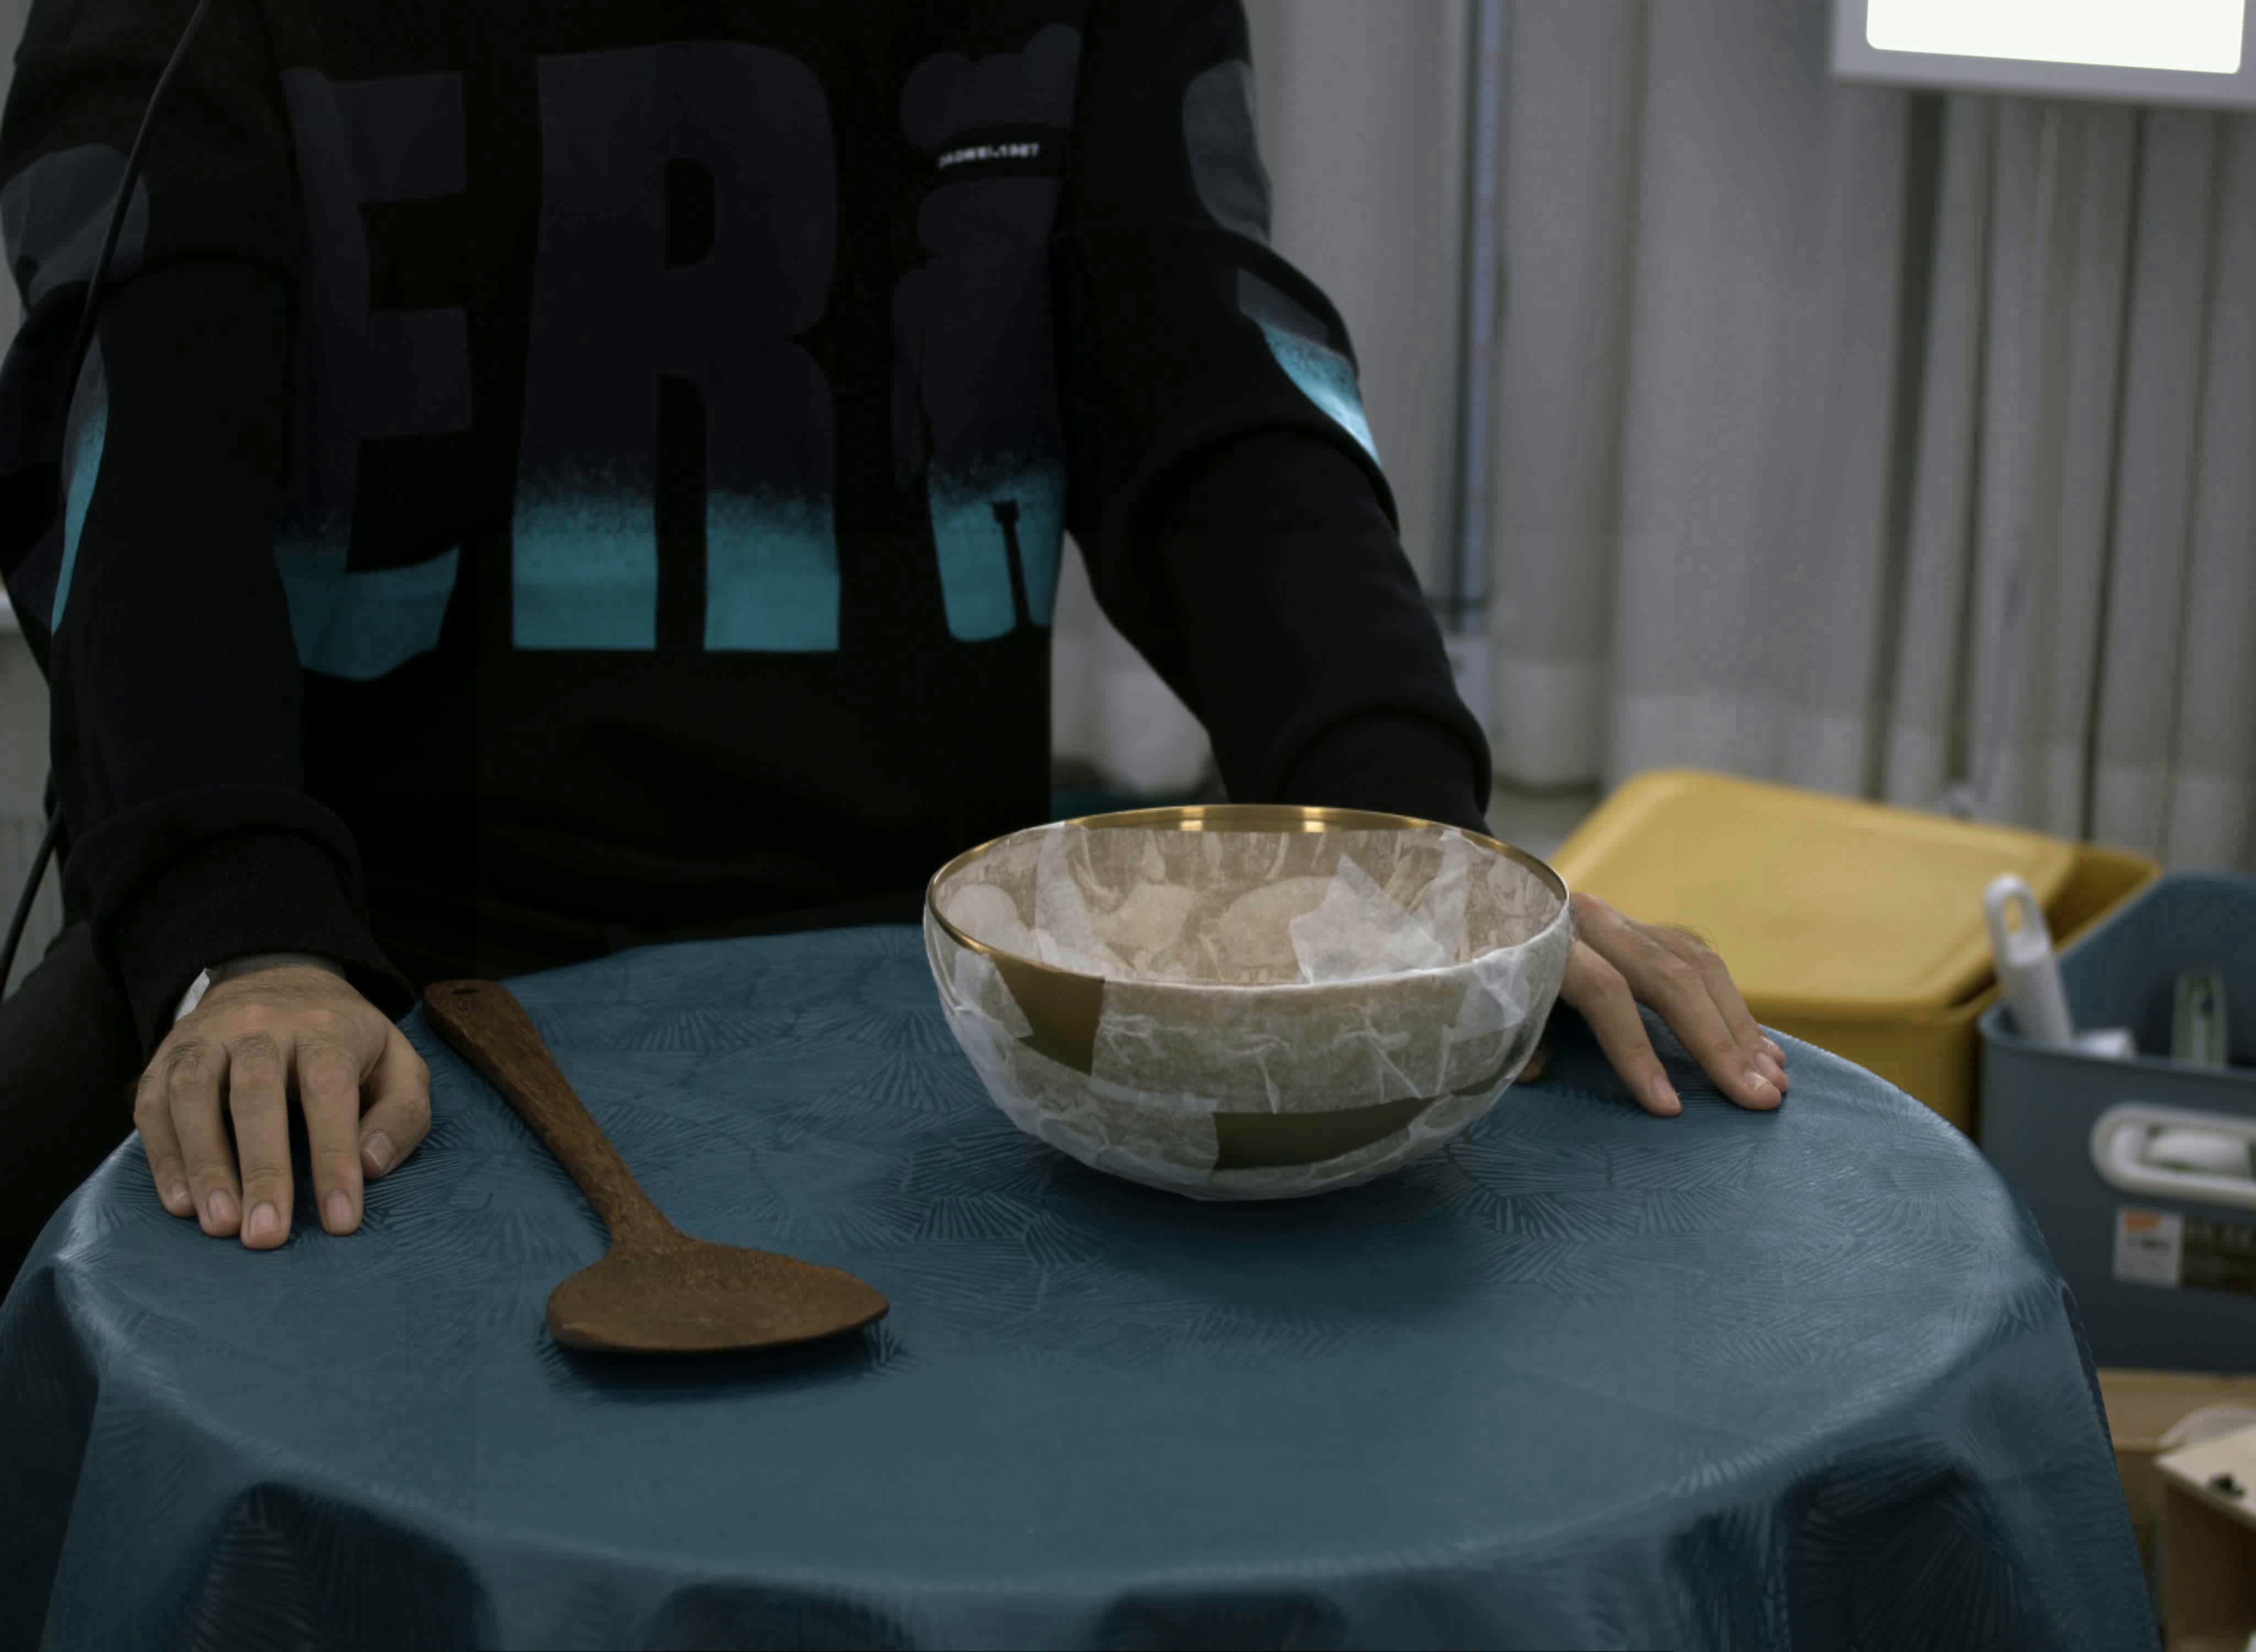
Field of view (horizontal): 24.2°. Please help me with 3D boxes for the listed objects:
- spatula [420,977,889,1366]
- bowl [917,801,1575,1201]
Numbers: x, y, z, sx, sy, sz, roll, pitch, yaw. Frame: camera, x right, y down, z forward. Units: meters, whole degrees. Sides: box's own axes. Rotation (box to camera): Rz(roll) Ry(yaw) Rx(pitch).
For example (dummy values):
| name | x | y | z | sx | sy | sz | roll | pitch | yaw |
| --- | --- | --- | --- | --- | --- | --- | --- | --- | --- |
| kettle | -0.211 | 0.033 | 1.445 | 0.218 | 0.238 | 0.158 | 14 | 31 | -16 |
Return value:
| name | x | y | z | sx | sy | sz | roll | pitch | yaw |
| --- | --- | --- | --- | --- | --- | --- | --- | --- | --- |
| spatula | -0.169 | 0.101 | 1.635 | 0.096 | 0.016 | 0.381 | -4 | 16 | -19 |
| bowl | 0.038 | 0.061 | 1.639 | 0.214 | 0.095 | 0.213 | -1 | 15 | 1 |
